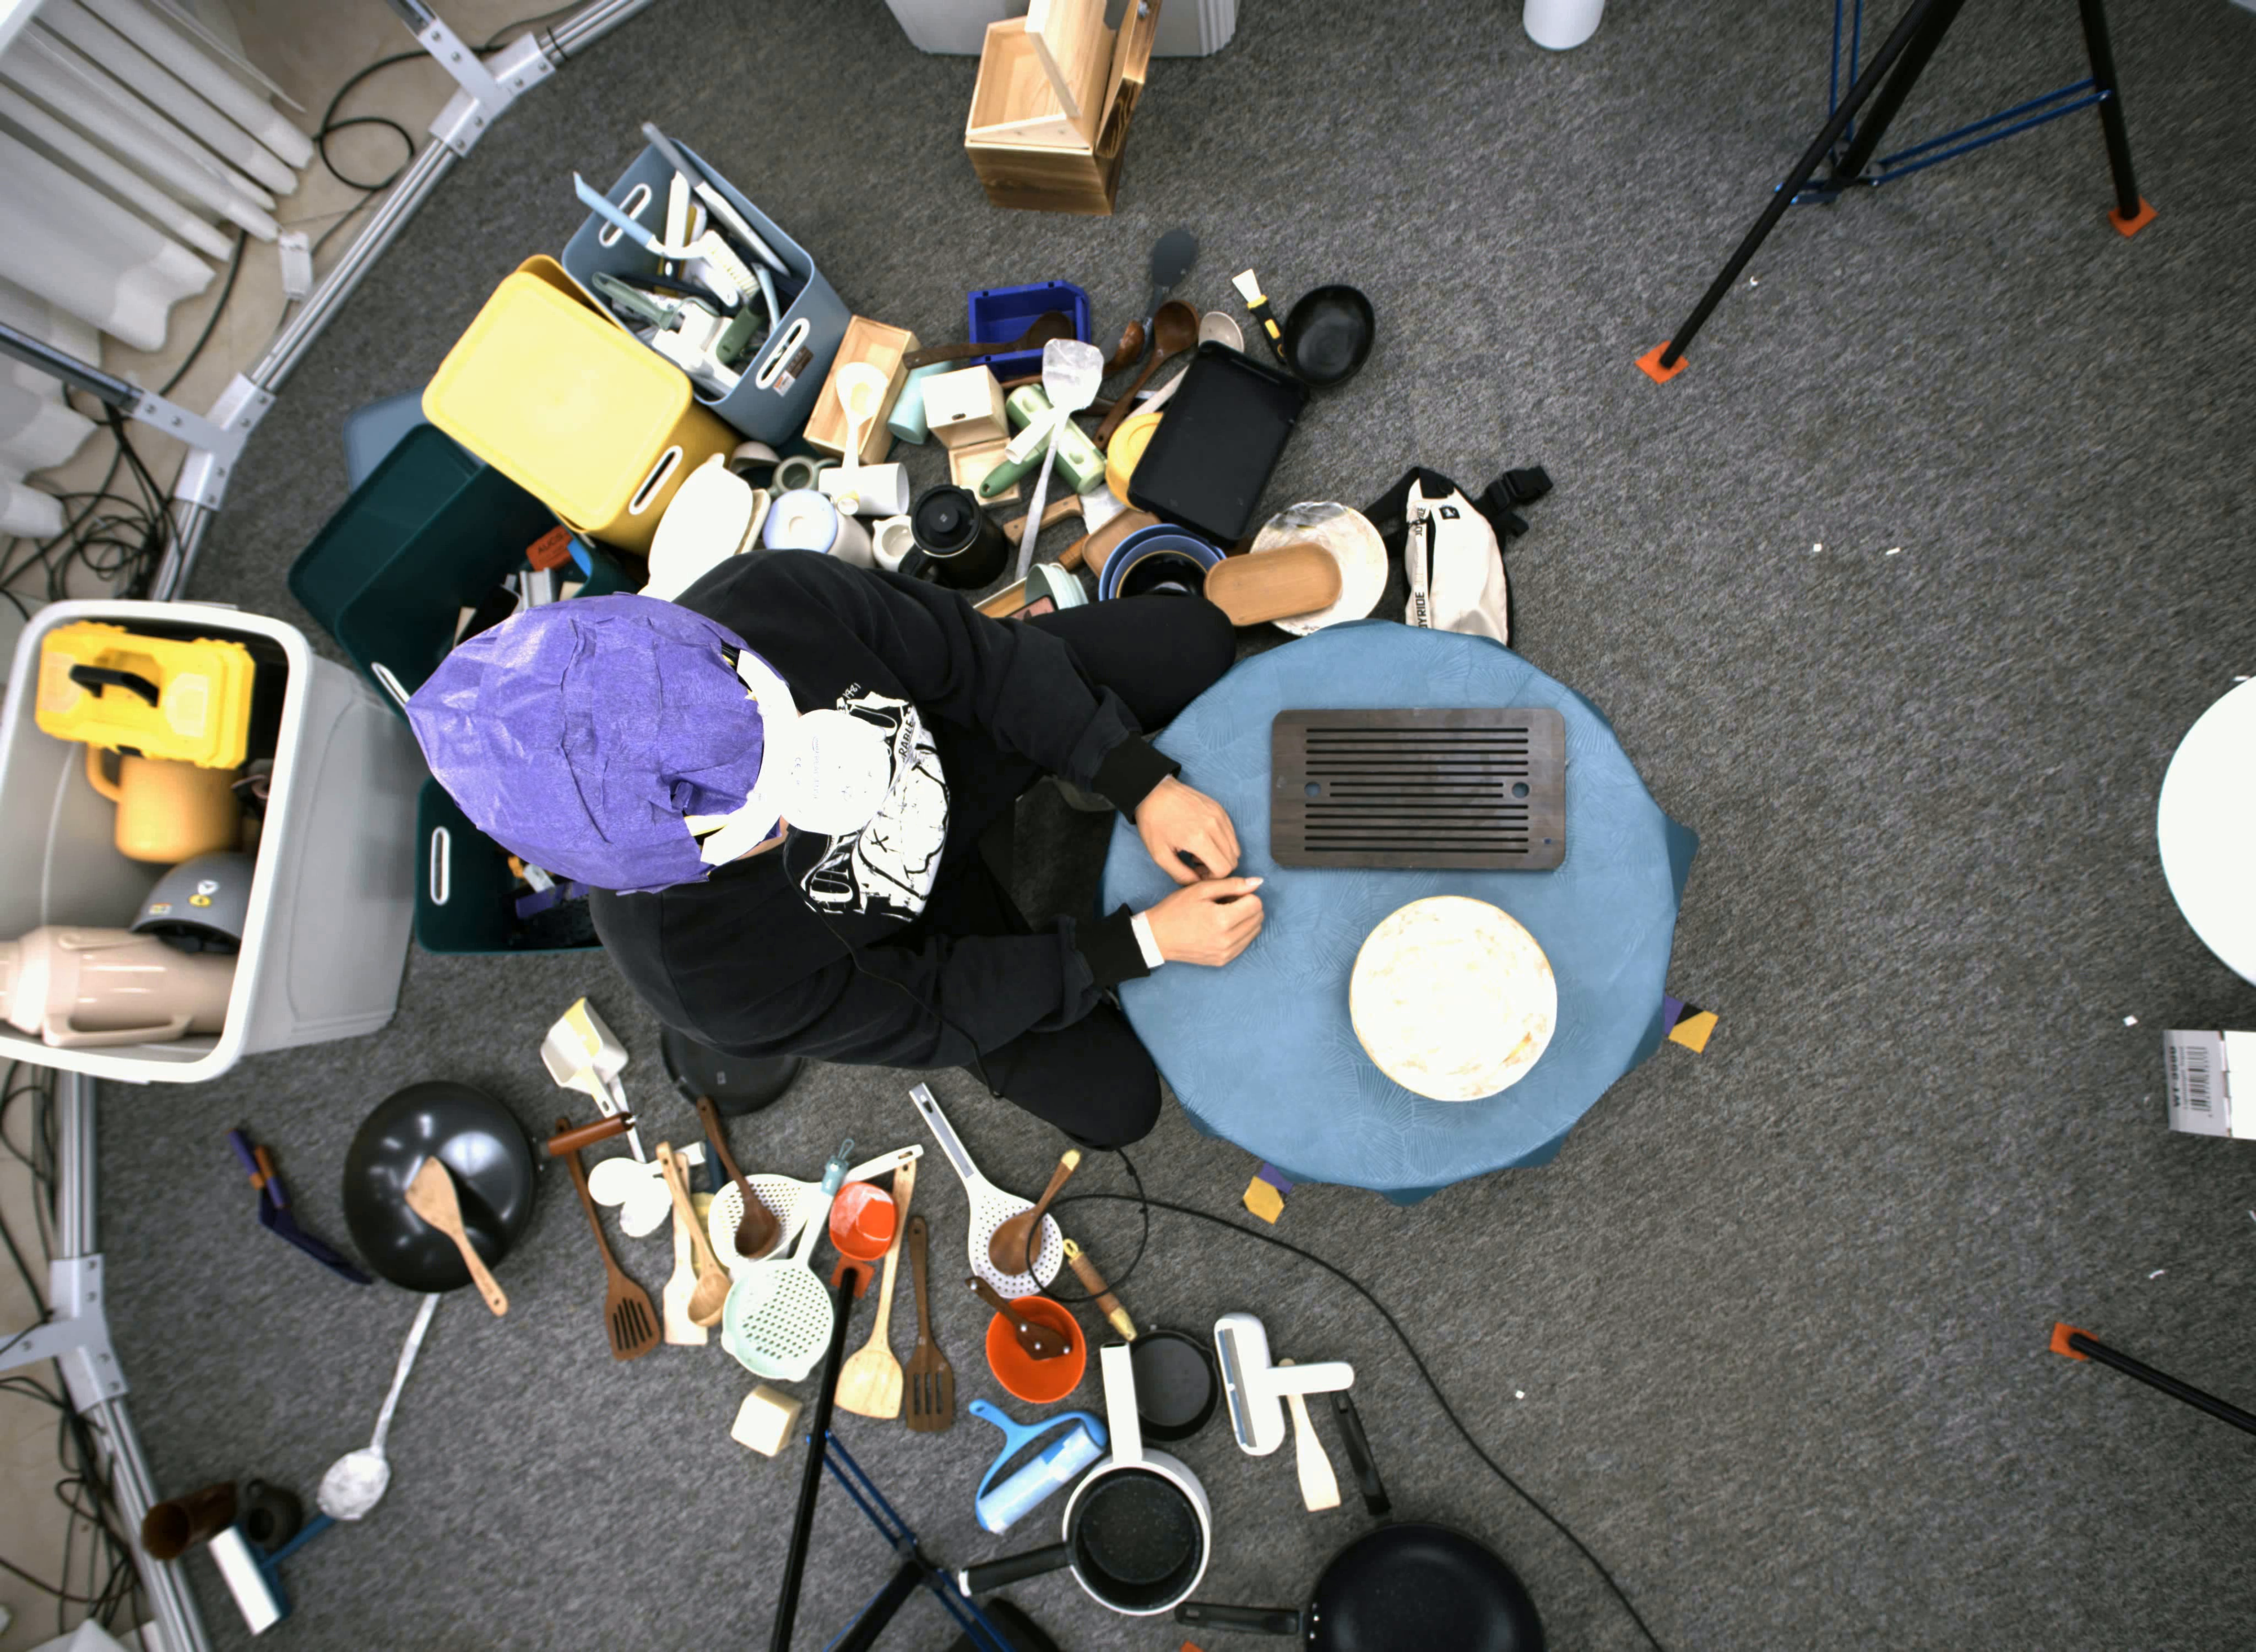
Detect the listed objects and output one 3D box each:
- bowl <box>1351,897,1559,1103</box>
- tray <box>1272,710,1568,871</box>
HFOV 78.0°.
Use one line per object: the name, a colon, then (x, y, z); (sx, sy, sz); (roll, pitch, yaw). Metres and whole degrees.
bowl: (0.327, 0.170, 1.401); (0.215, 0.094, 0.214); (-1, 86, 11)
tray: (0.307, -0.040, 1.457); (0.307, 0.018, 0.169); (0, 86, 11)
